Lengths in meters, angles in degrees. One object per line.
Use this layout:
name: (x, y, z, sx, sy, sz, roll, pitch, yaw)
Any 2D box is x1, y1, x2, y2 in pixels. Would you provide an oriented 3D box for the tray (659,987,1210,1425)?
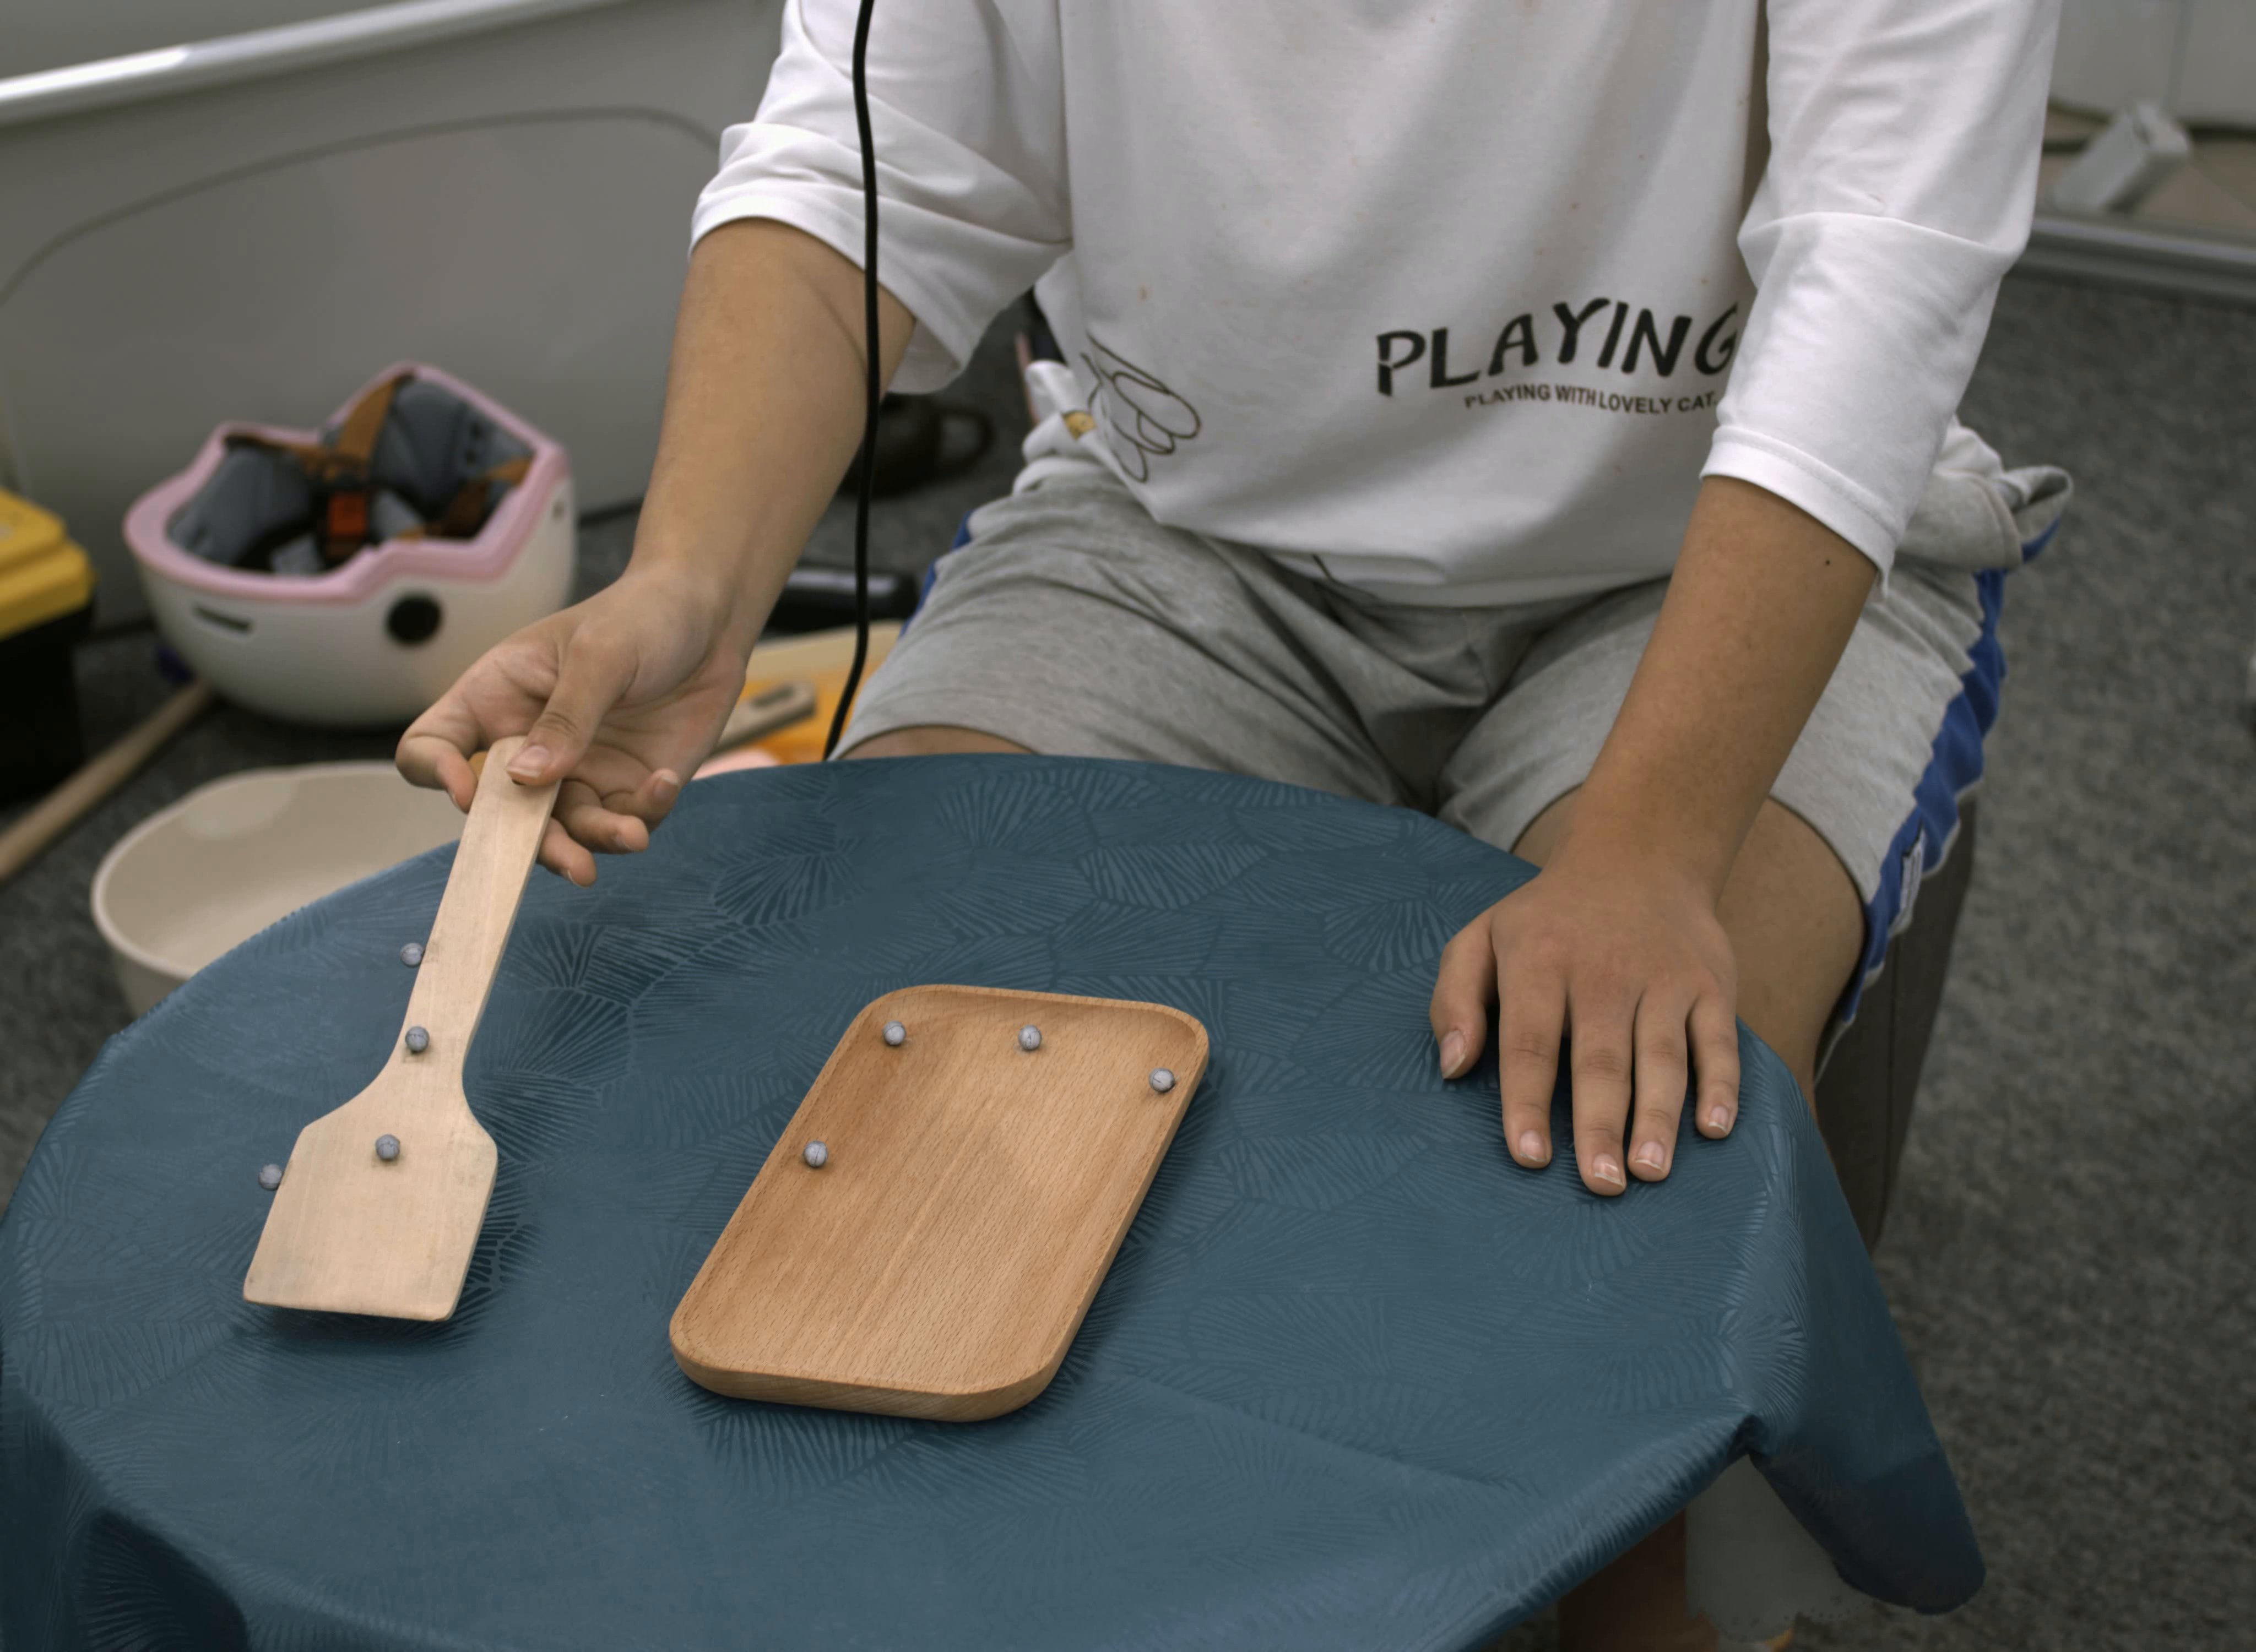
tray: (-0.060, 0.122, 1.851, 0.129, 0.022, 0.255, 3, 28, 16)

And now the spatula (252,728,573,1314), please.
spatula: (-0.231, 0.061, 1.911, 0.072, 0.010, 0.299, 4, 40, 5)
